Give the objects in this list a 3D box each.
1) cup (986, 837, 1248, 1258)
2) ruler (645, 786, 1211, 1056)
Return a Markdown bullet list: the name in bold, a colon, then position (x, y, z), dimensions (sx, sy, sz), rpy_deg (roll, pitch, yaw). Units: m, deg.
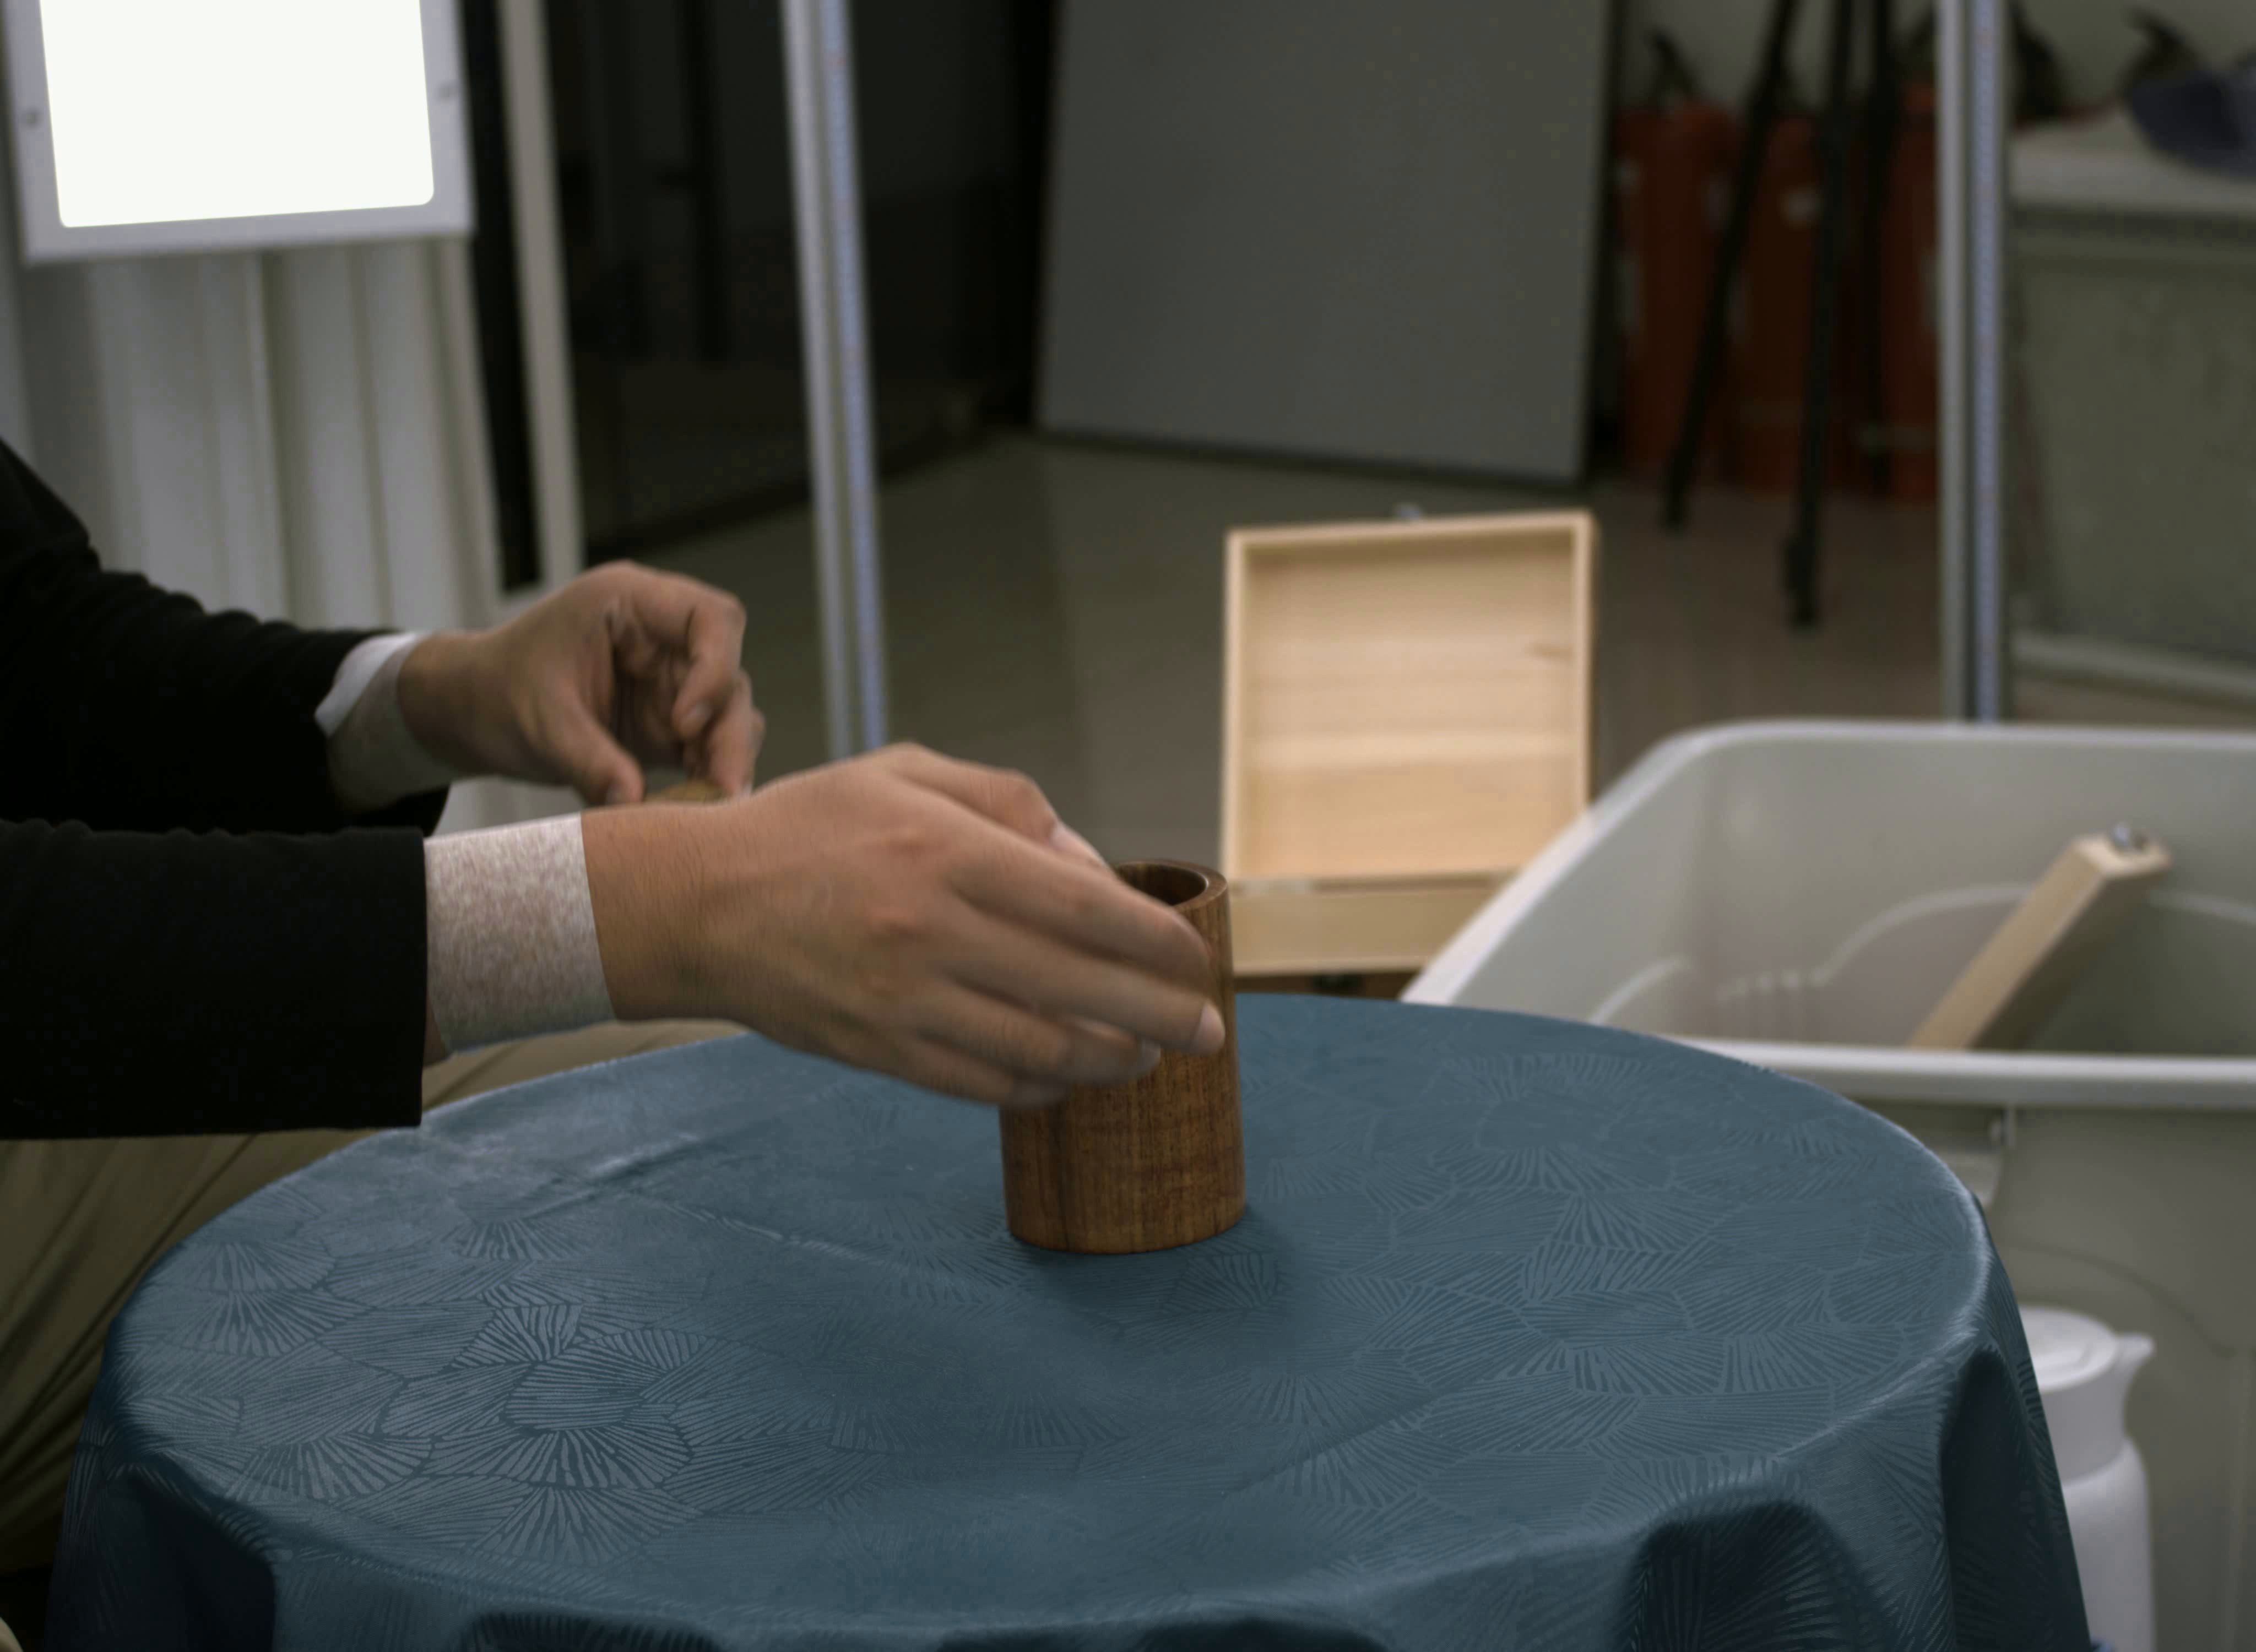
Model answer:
- **cup**: position (-0.003, 0.070, 1.731), dimensions (0.086, 0.120, 0.088), rpy_deg (-4, 12, 0)
- **ruler**: position (-0.070, 0.024, 1.664), dimensions (0.027, 0.022, 0.335), rpy_deg (-14, 18, -27)
